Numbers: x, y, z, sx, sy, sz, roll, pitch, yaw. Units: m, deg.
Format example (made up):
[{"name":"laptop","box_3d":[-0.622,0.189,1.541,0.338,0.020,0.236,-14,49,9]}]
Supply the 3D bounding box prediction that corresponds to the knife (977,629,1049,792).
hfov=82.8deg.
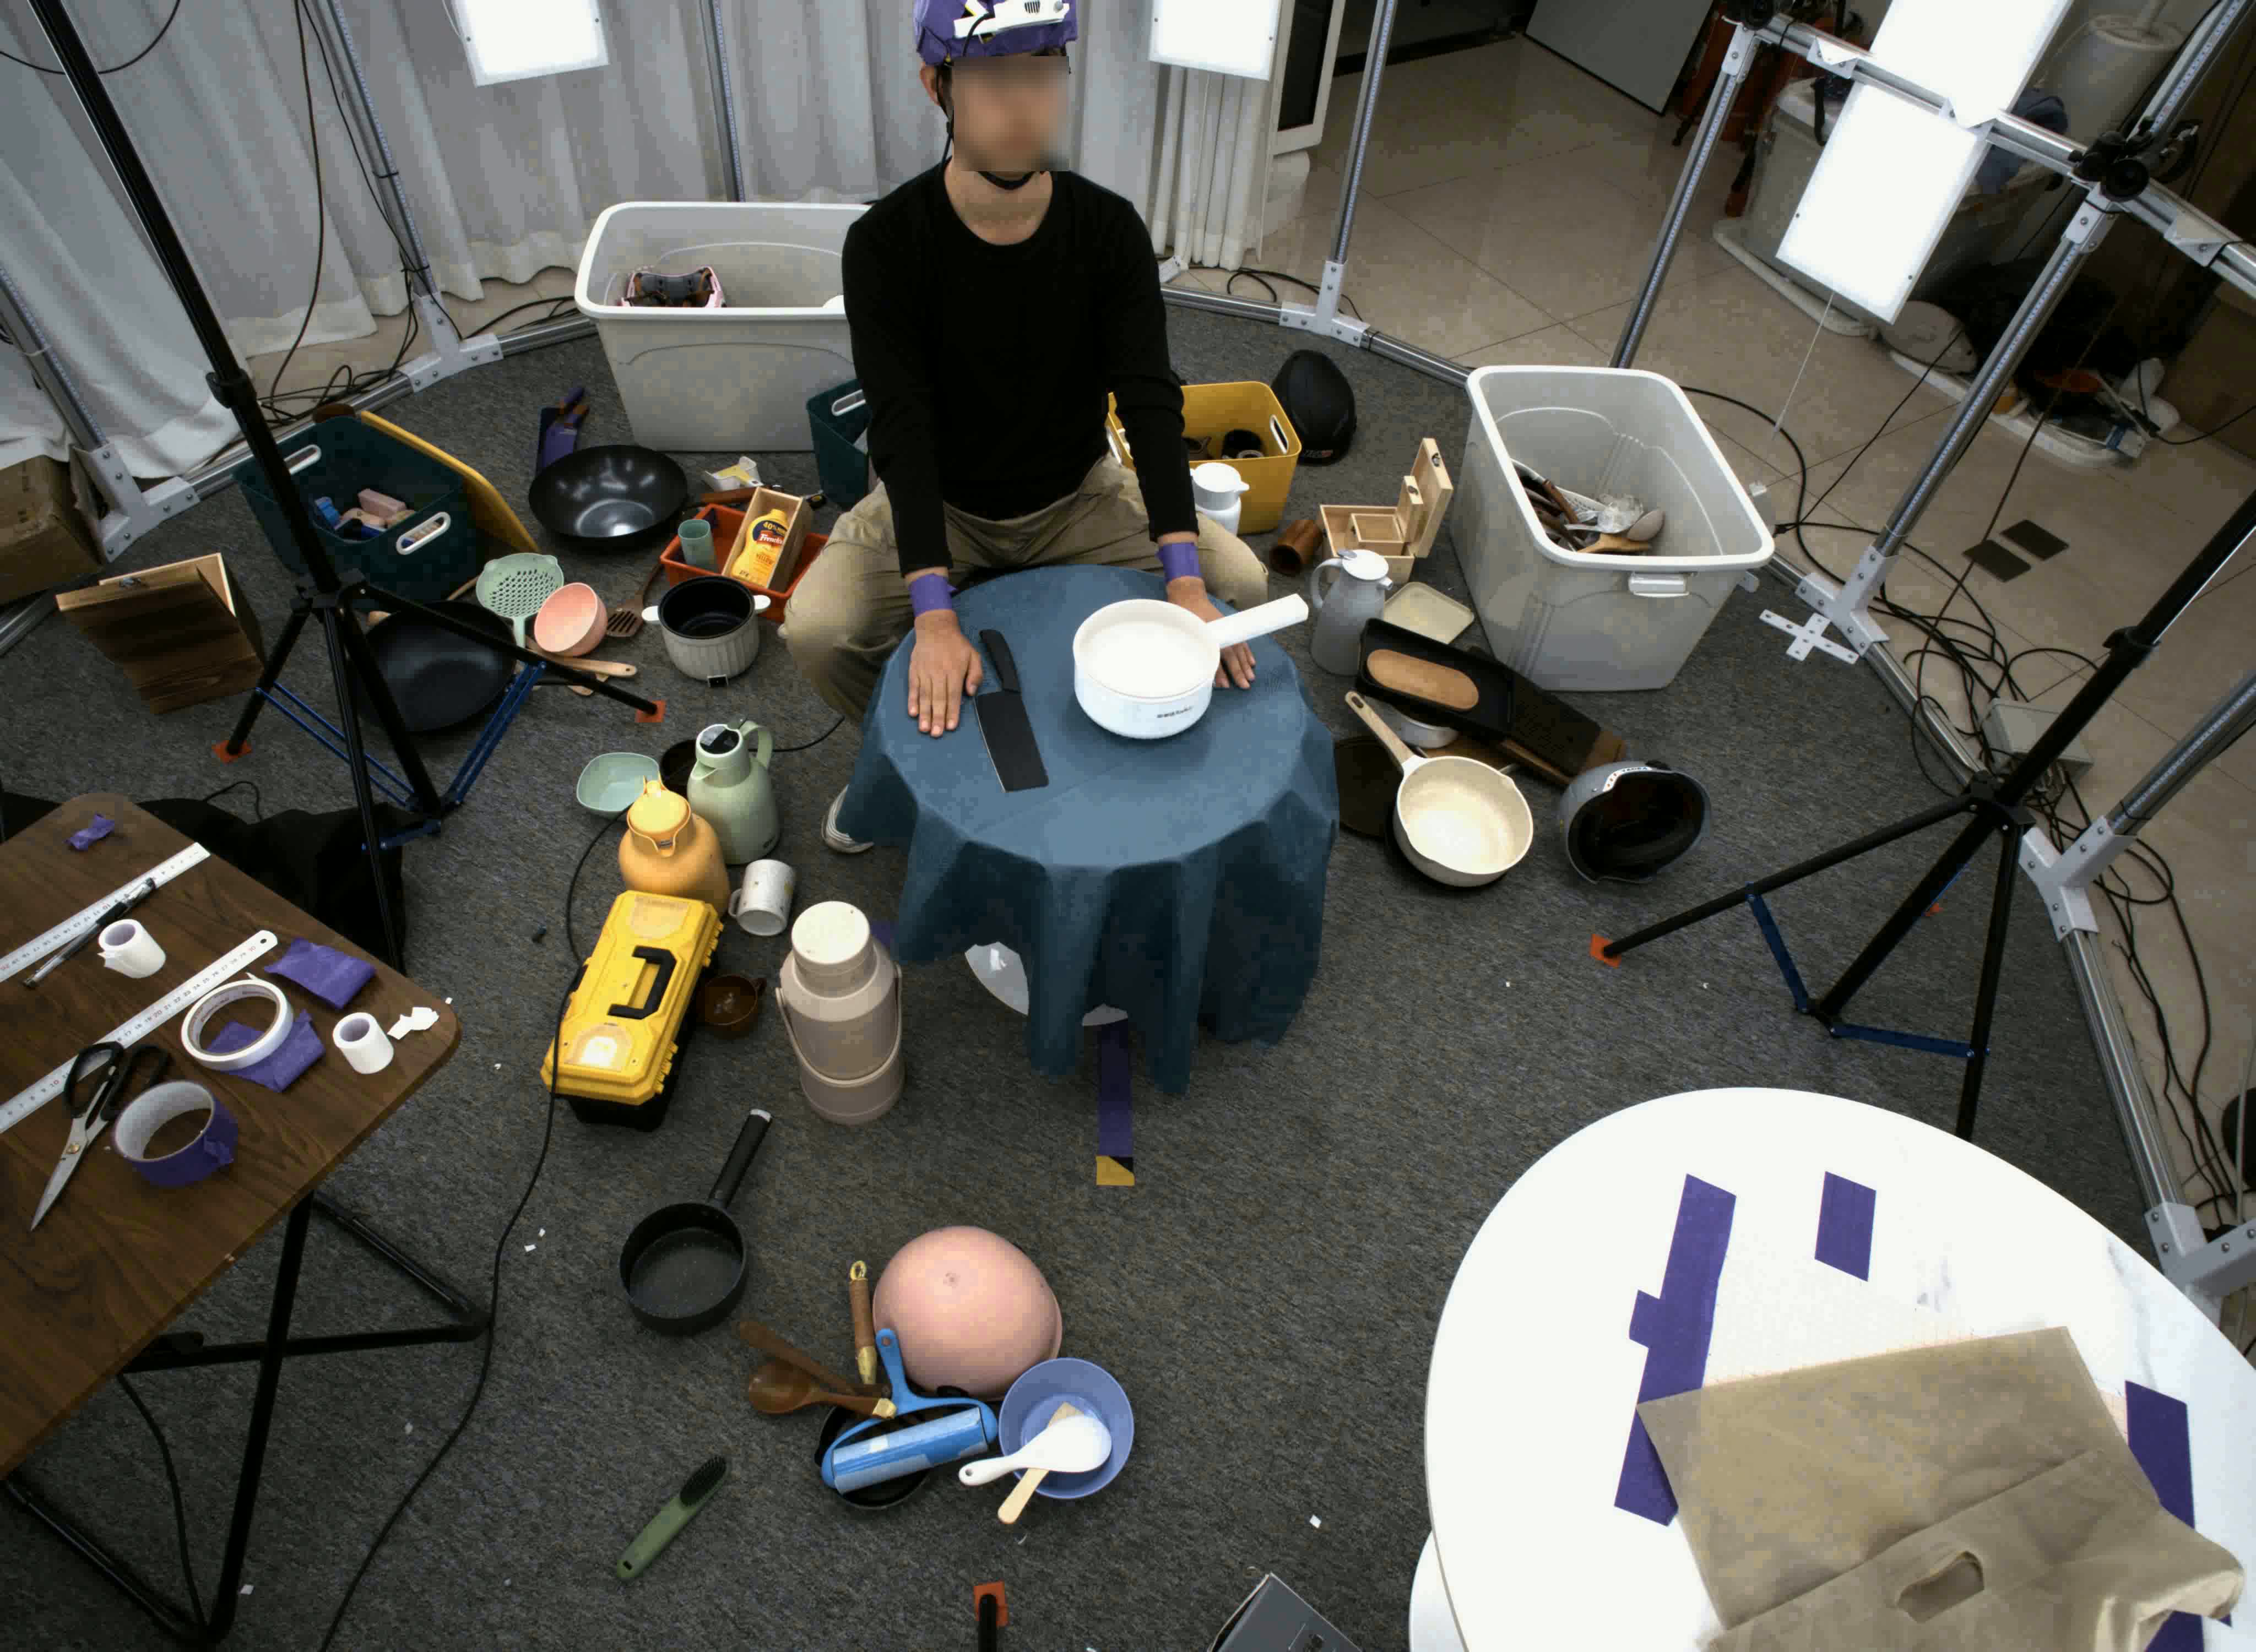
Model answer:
[{"name":"knife","box_3d":[-0.171,-0.166,1.794,0.081,0.020,0.310,-7,52,-8]}]

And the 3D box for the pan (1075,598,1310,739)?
[{"name":"pan","box_3d":[0.092,-0.237,1.819,0.355,0.099,0.205,-19,52,-20]}]
